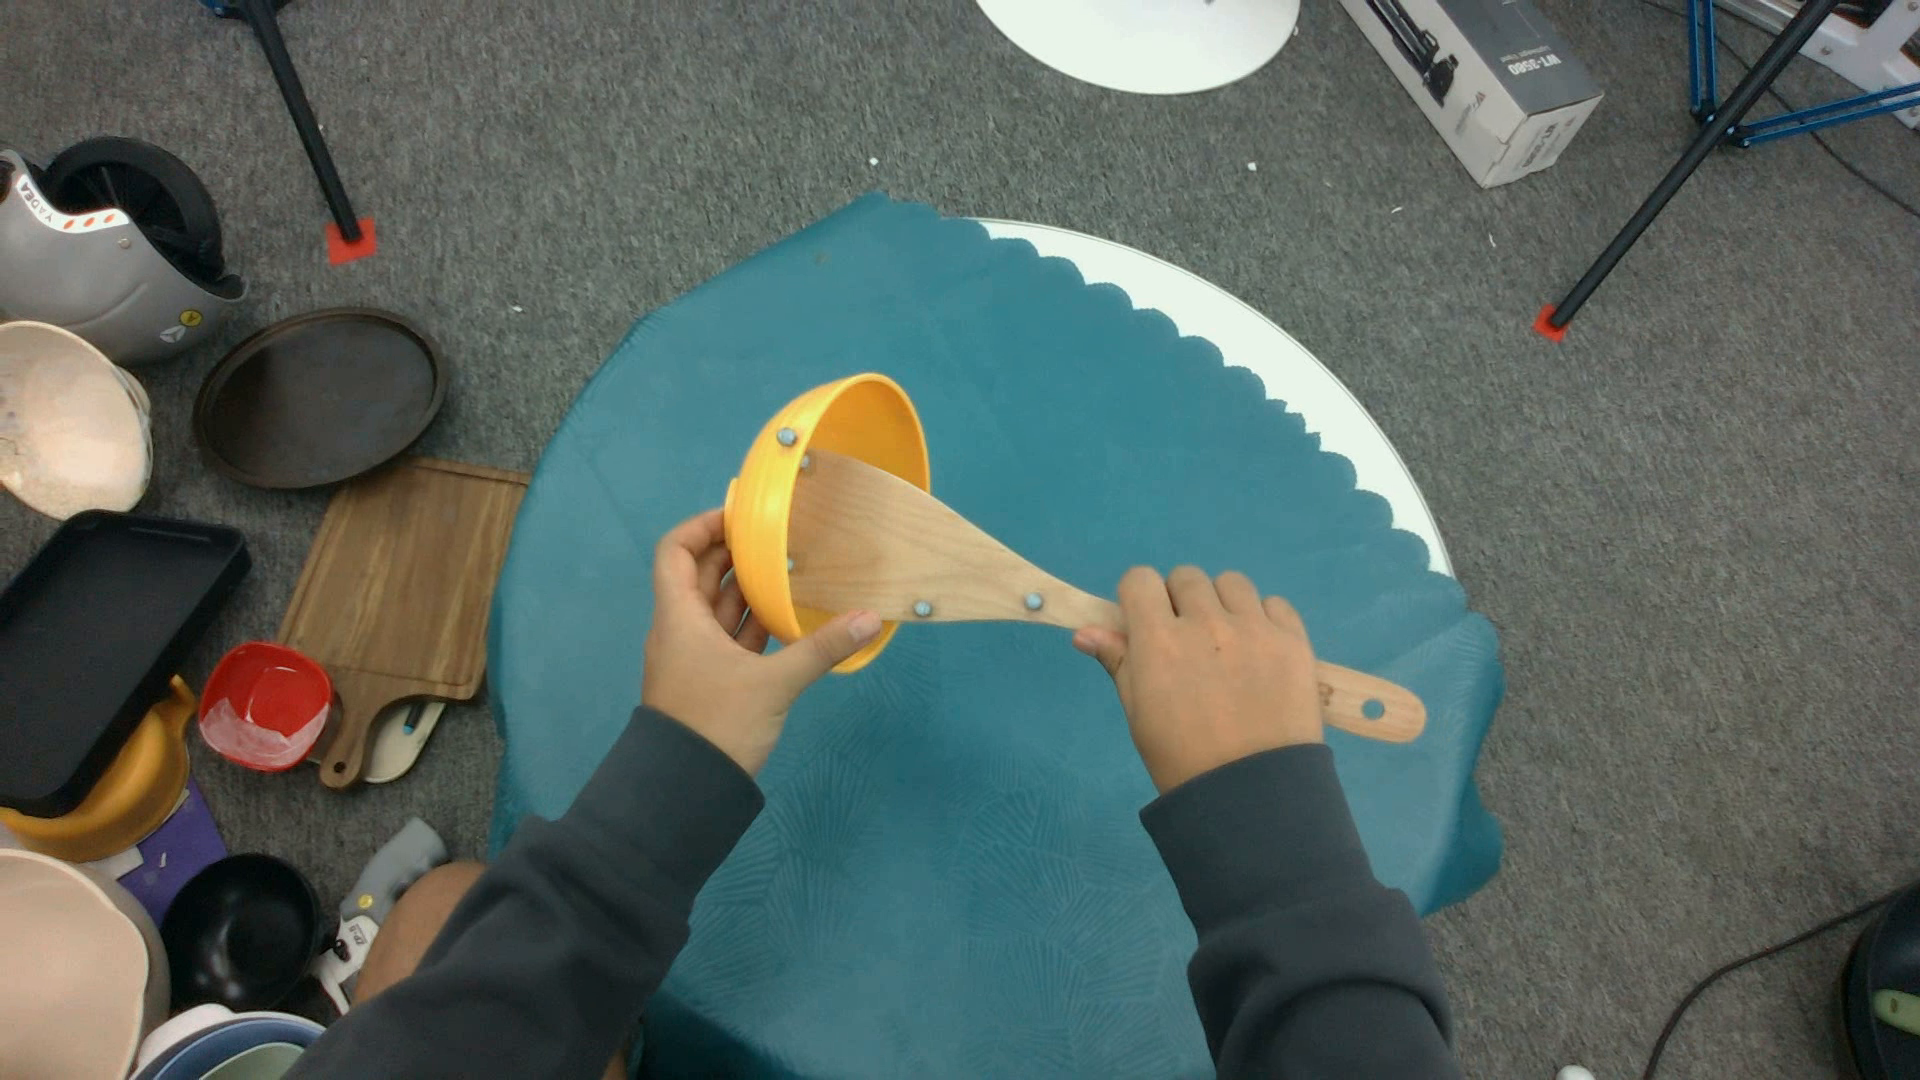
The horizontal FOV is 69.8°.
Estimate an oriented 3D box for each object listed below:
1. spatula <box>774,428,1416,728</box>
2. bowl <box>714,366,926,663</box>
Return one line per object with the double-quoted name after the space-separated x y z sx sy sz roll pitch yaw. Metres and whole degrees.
0.051 0.028 0.649 0.327 0.016 0.080 18 90 10 "spatula"
-0.077 -0.016 0.673 0.060 0.145 0.146 10 58 26 "bowl"
